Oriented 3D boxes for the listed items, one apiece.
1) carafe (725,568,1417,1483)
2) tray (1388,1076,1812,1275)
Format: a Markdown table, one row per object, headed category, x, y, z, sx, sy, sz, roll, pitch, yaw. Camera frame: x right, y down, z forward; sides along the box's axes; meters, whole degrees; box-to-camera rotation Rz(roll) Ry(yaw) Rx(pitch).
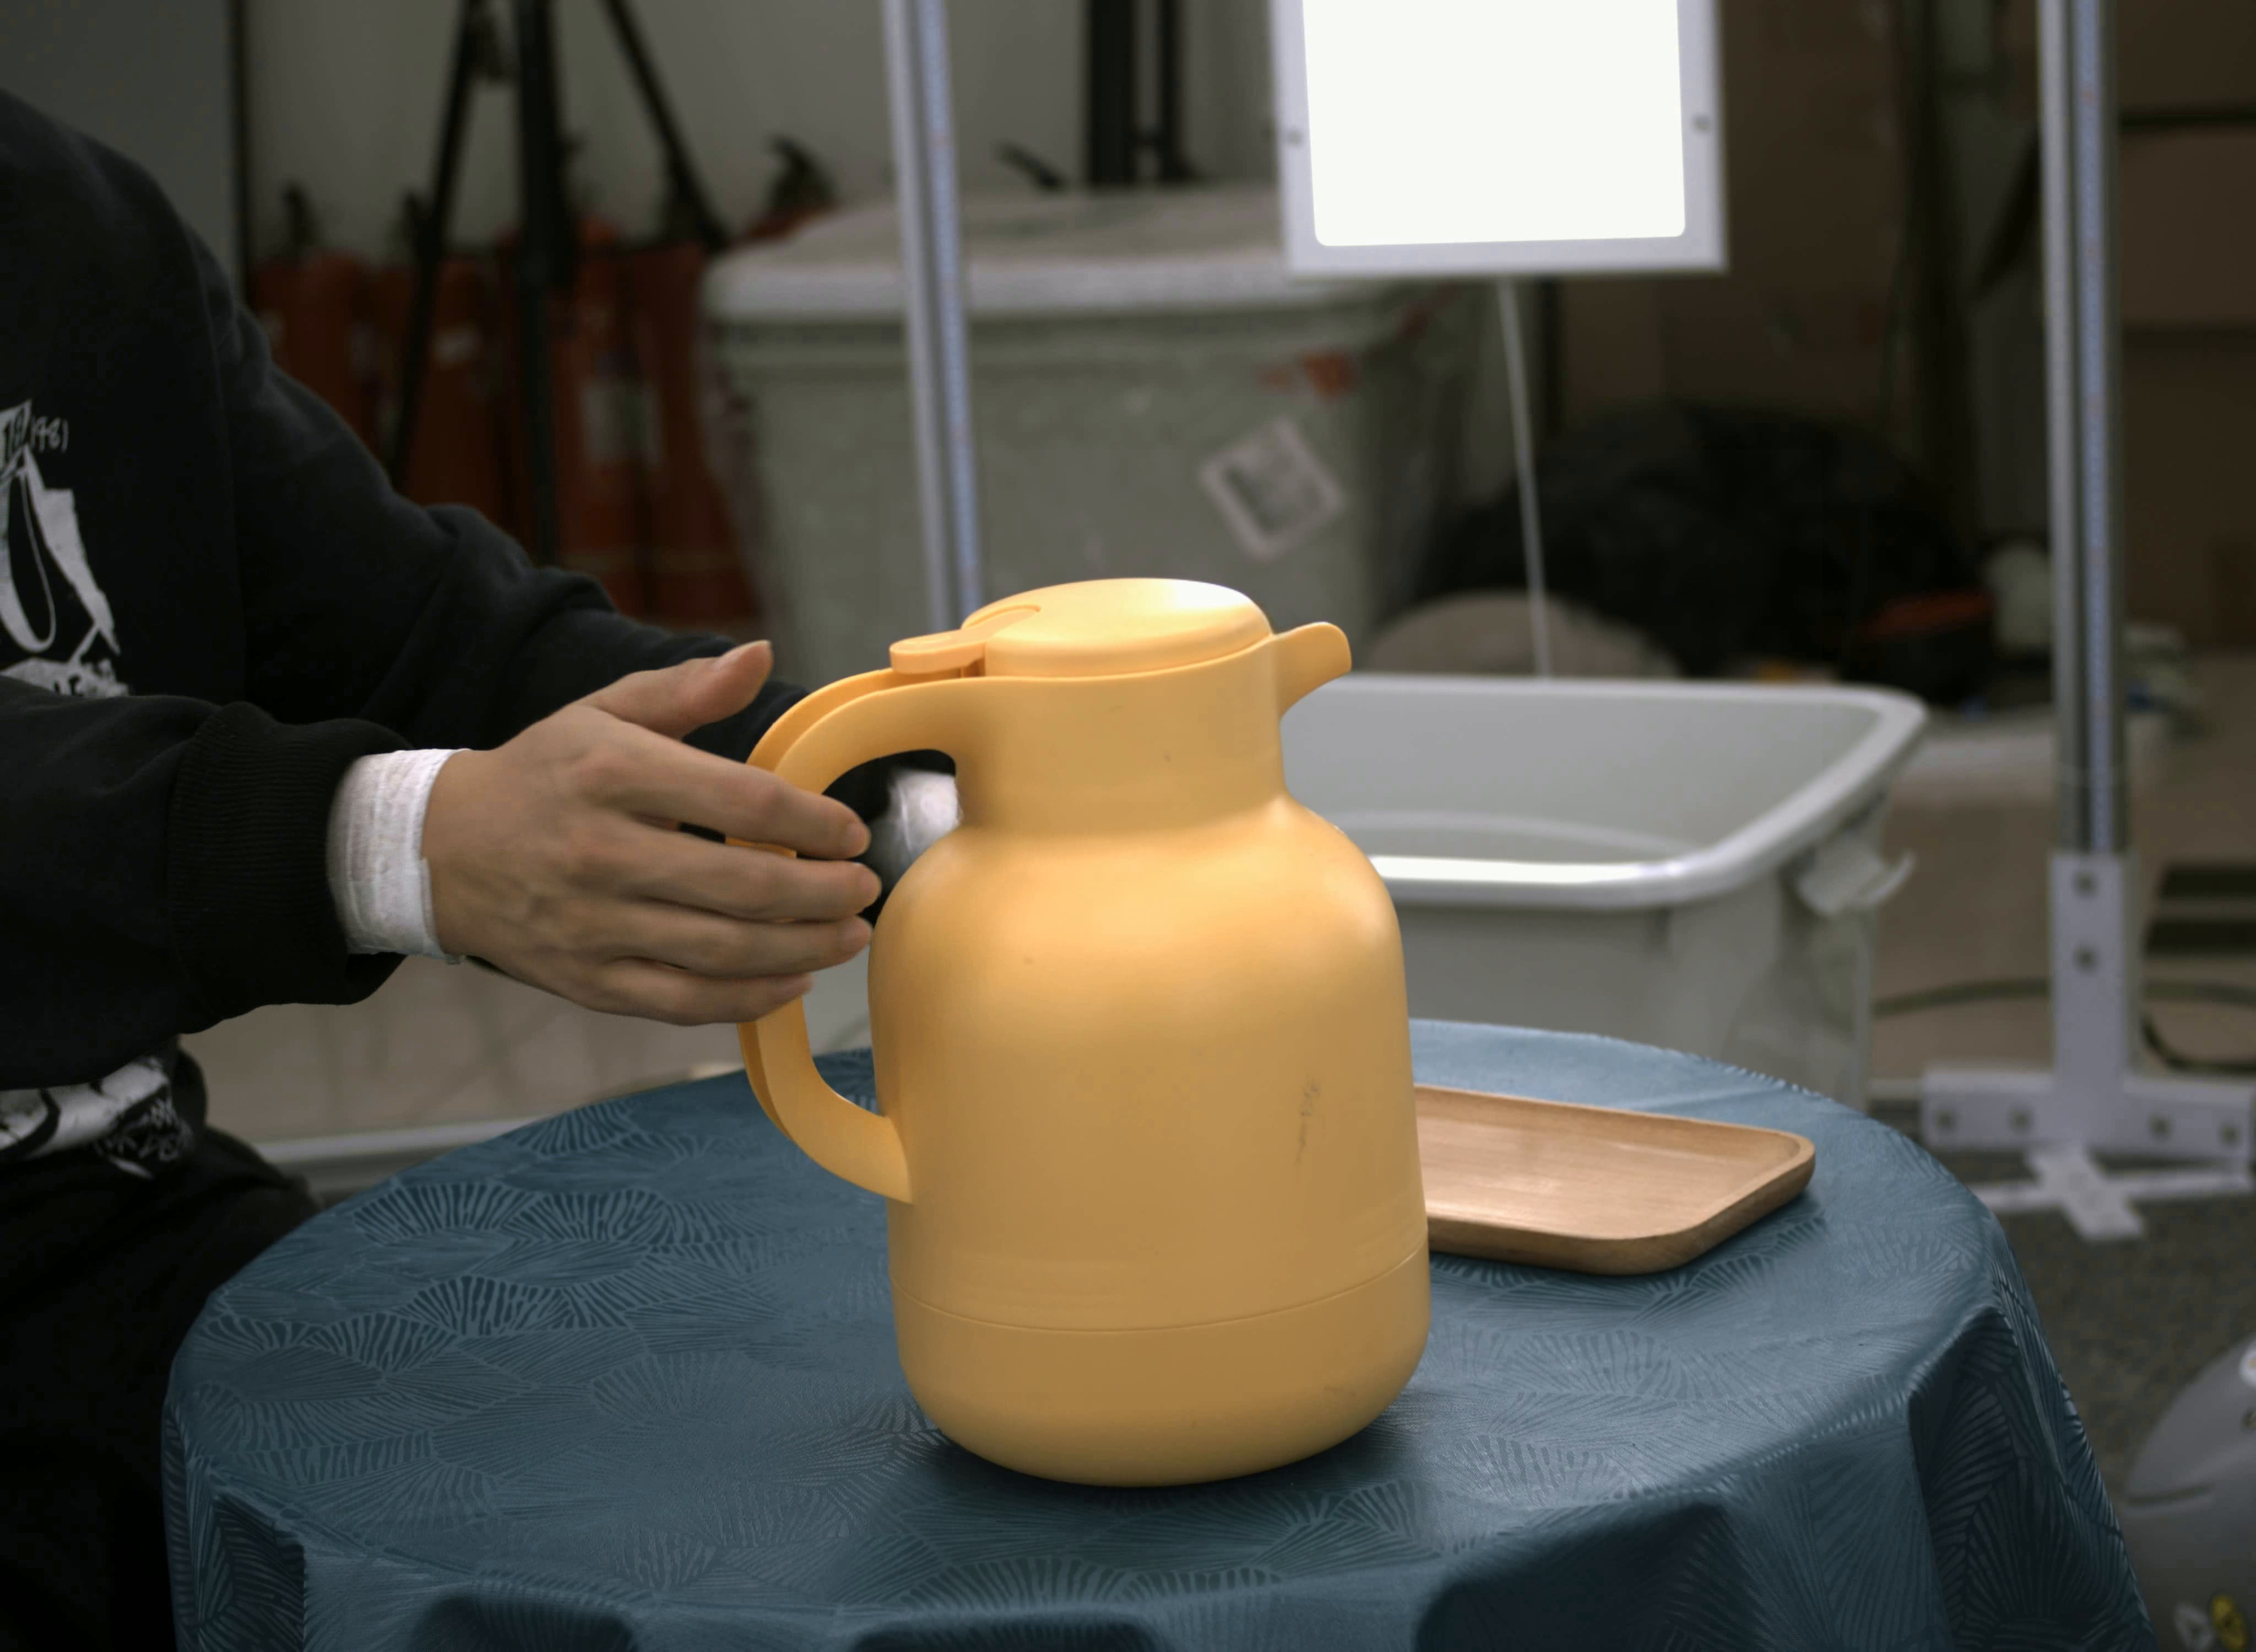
| category | x | y | z | sx | sy | sz | roll | pitch | yaw |
| --- | --- | --- | --- | --- | --- | --- | --- | --- | --- |
| carafe | -0.017 | 0.057 | 1.634 | 0.199 | 0.261 | 0.165 | -6 | 11 | -14 |
| tray | 0.104 | 0.115 | 1.871 | 0.256 | 0.023 | 0.127 | 5 | 15 | 38 |
